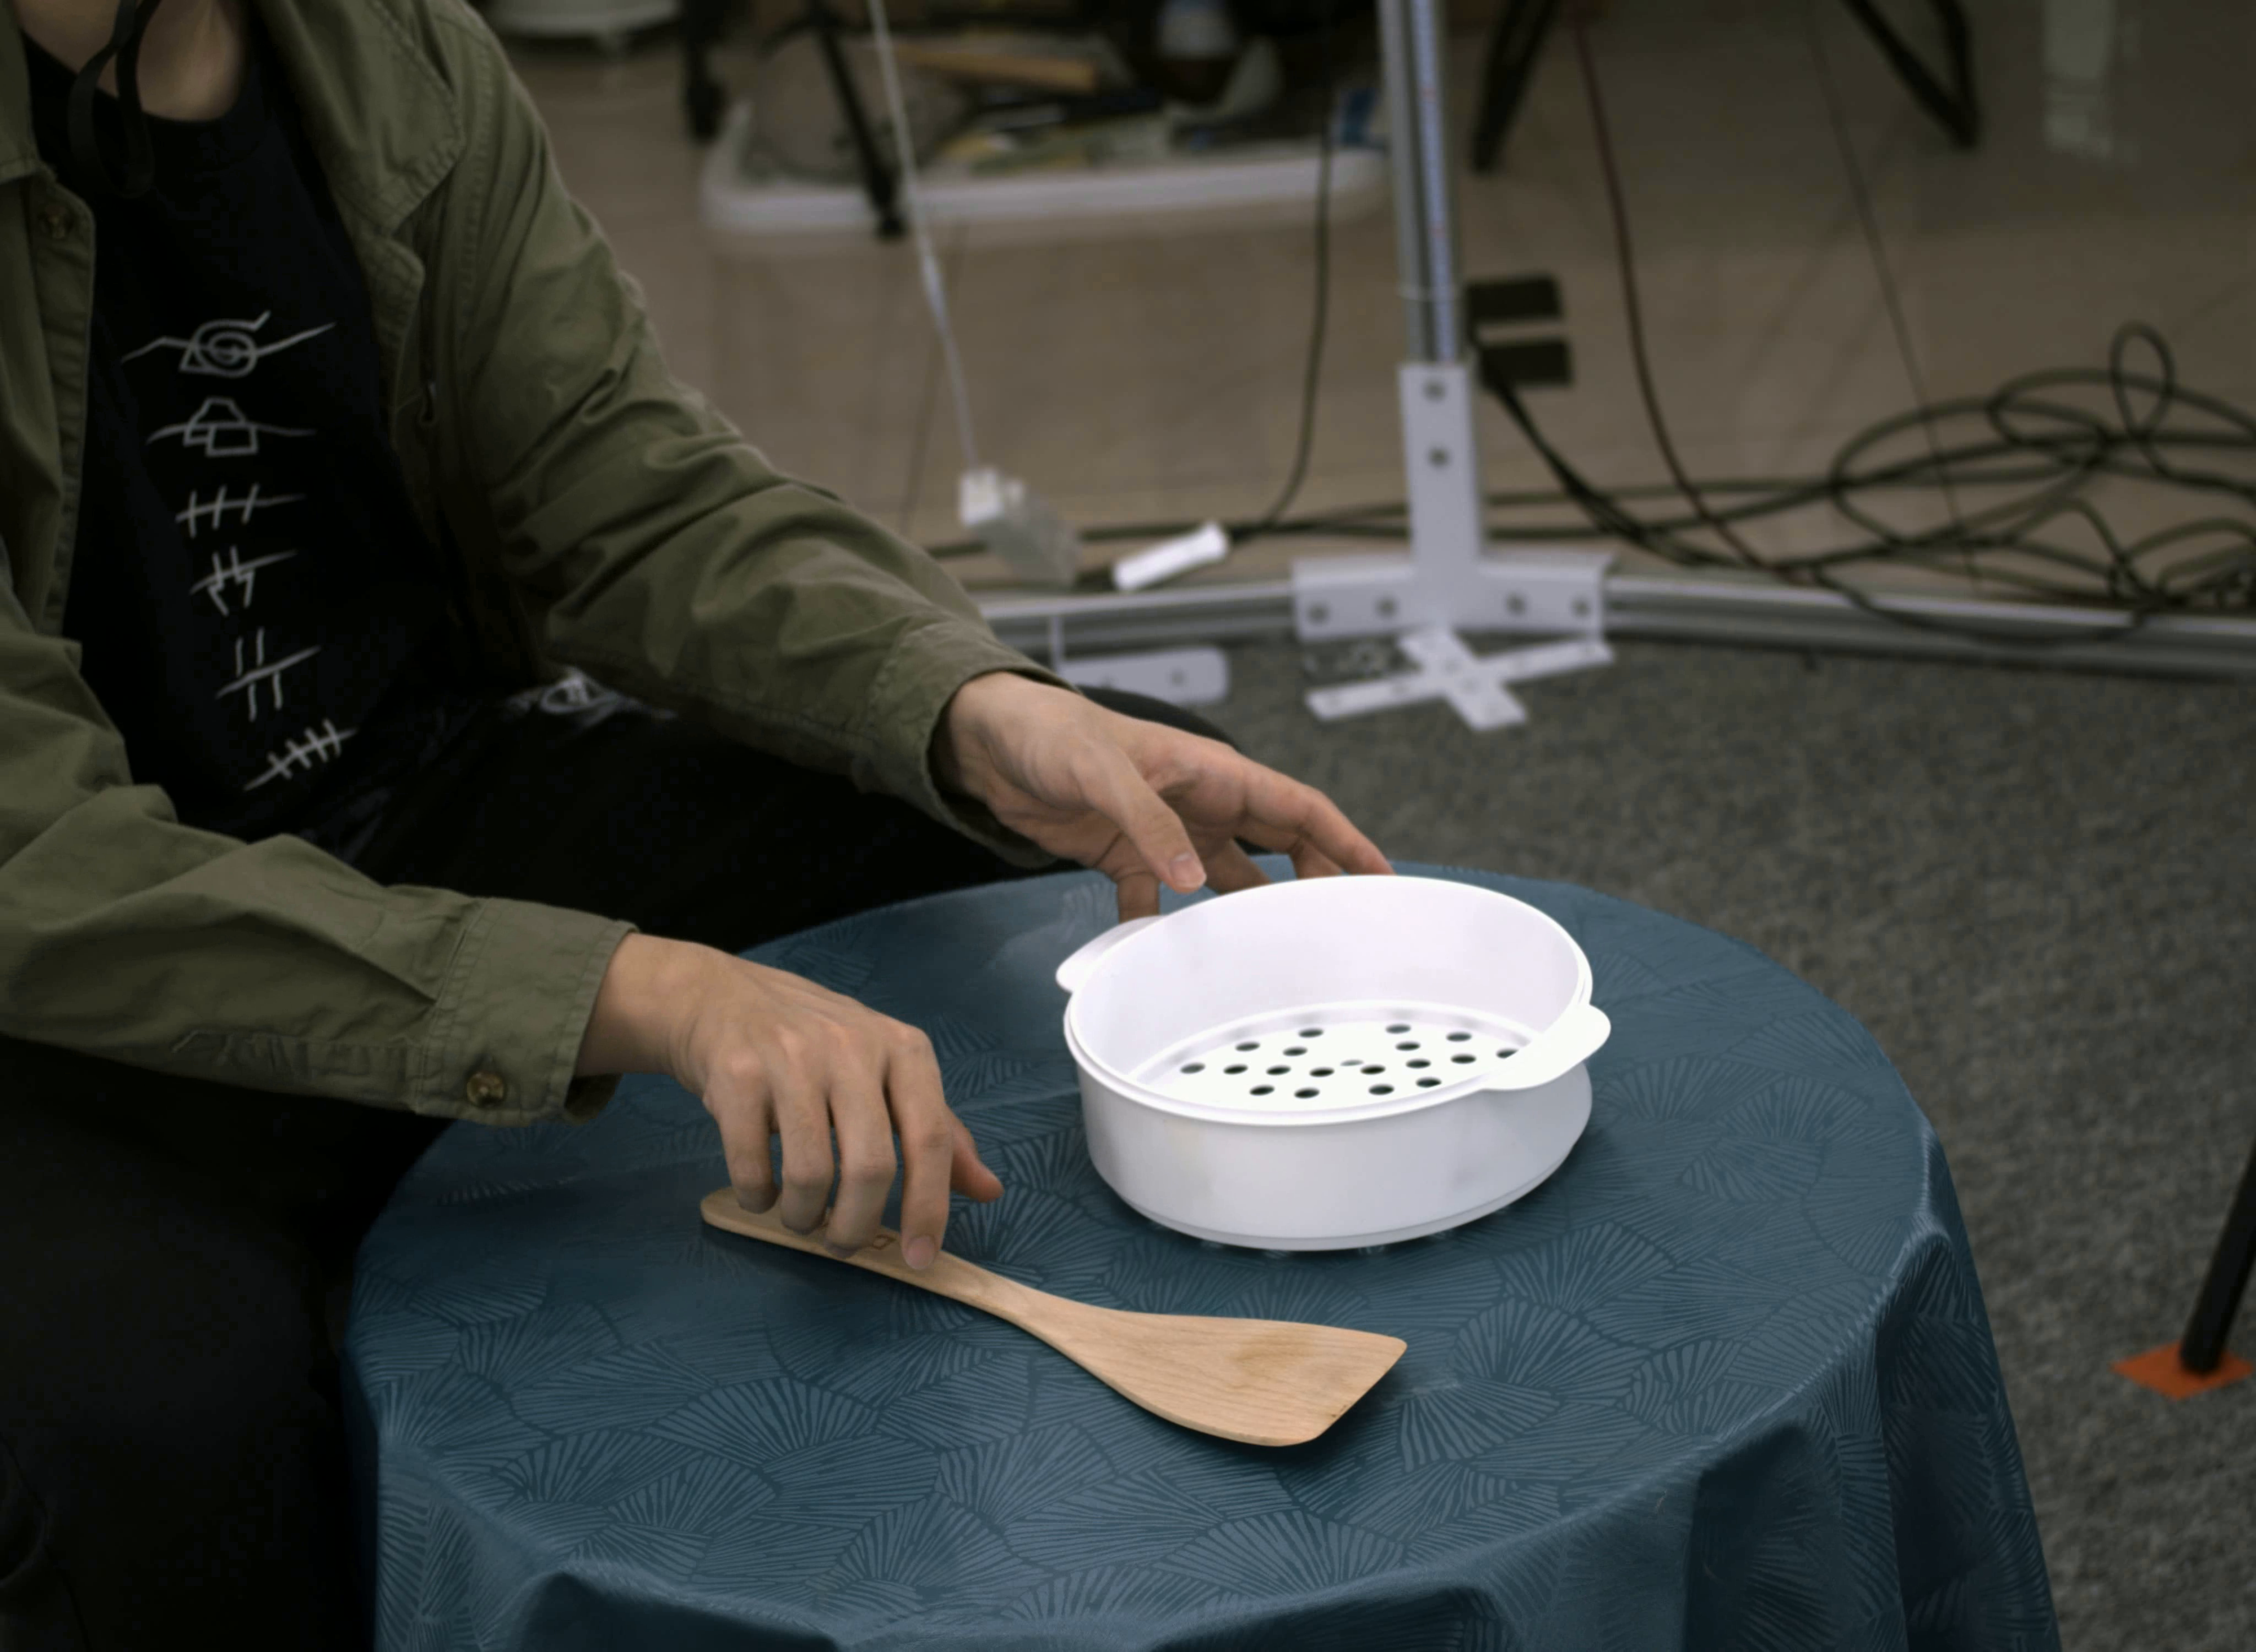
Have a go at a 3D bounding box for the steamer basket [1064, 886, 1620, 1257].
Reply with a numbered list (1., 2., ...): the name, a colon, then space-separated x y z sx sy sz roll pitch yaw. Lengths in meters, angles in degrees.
1. steamer basket: 0.082 0.093 2.152 0.229 0.070 0.200 11 30 36

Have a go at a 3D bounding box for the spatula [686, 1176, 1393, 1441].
1. spatula: -0.042 0.169 2.079 0.325 0.017 0.079 15 33 38
